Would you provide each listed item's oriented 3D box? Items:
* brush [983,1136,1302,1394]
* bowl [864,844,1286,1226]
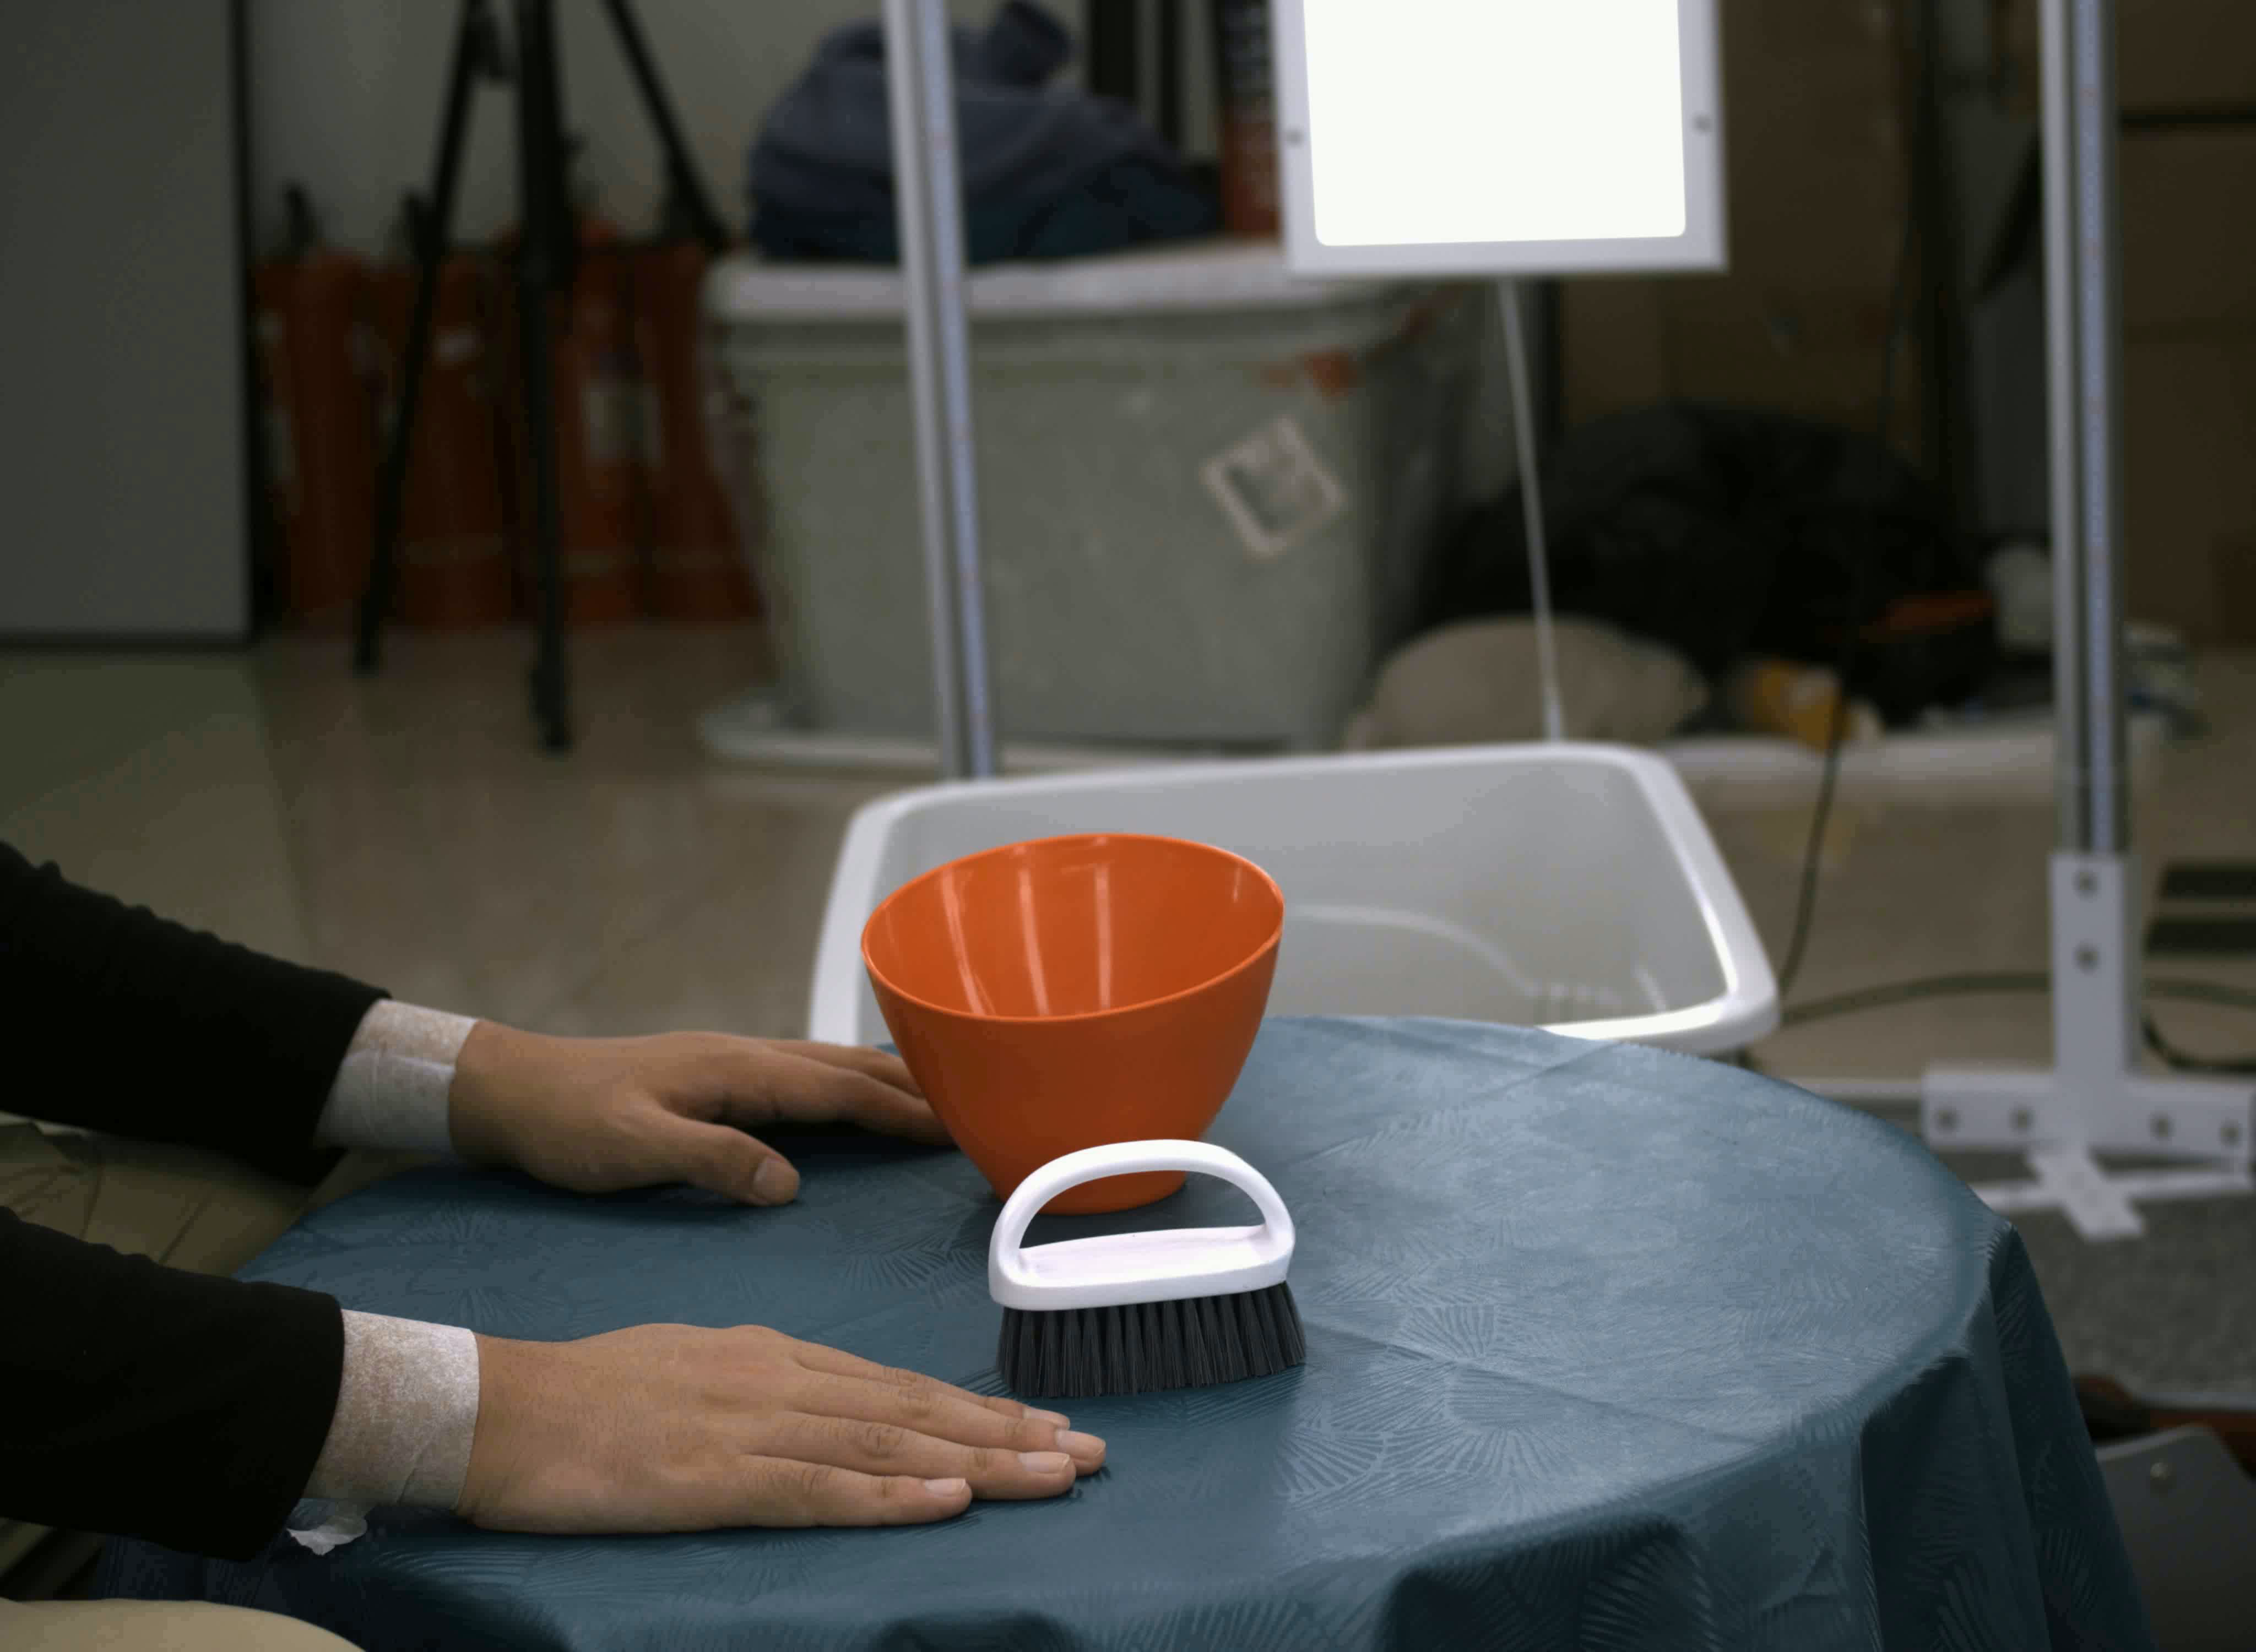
[{"bbox_3d":[0.003,0.133,1.715,0.099,0.073,0.050,-5,15,1],"label":"brush"},{"bbox_3d":[-0.014,0.076,1.906,0.148,0.105,0.148,-6,14,0],"label":"bowl"}]
